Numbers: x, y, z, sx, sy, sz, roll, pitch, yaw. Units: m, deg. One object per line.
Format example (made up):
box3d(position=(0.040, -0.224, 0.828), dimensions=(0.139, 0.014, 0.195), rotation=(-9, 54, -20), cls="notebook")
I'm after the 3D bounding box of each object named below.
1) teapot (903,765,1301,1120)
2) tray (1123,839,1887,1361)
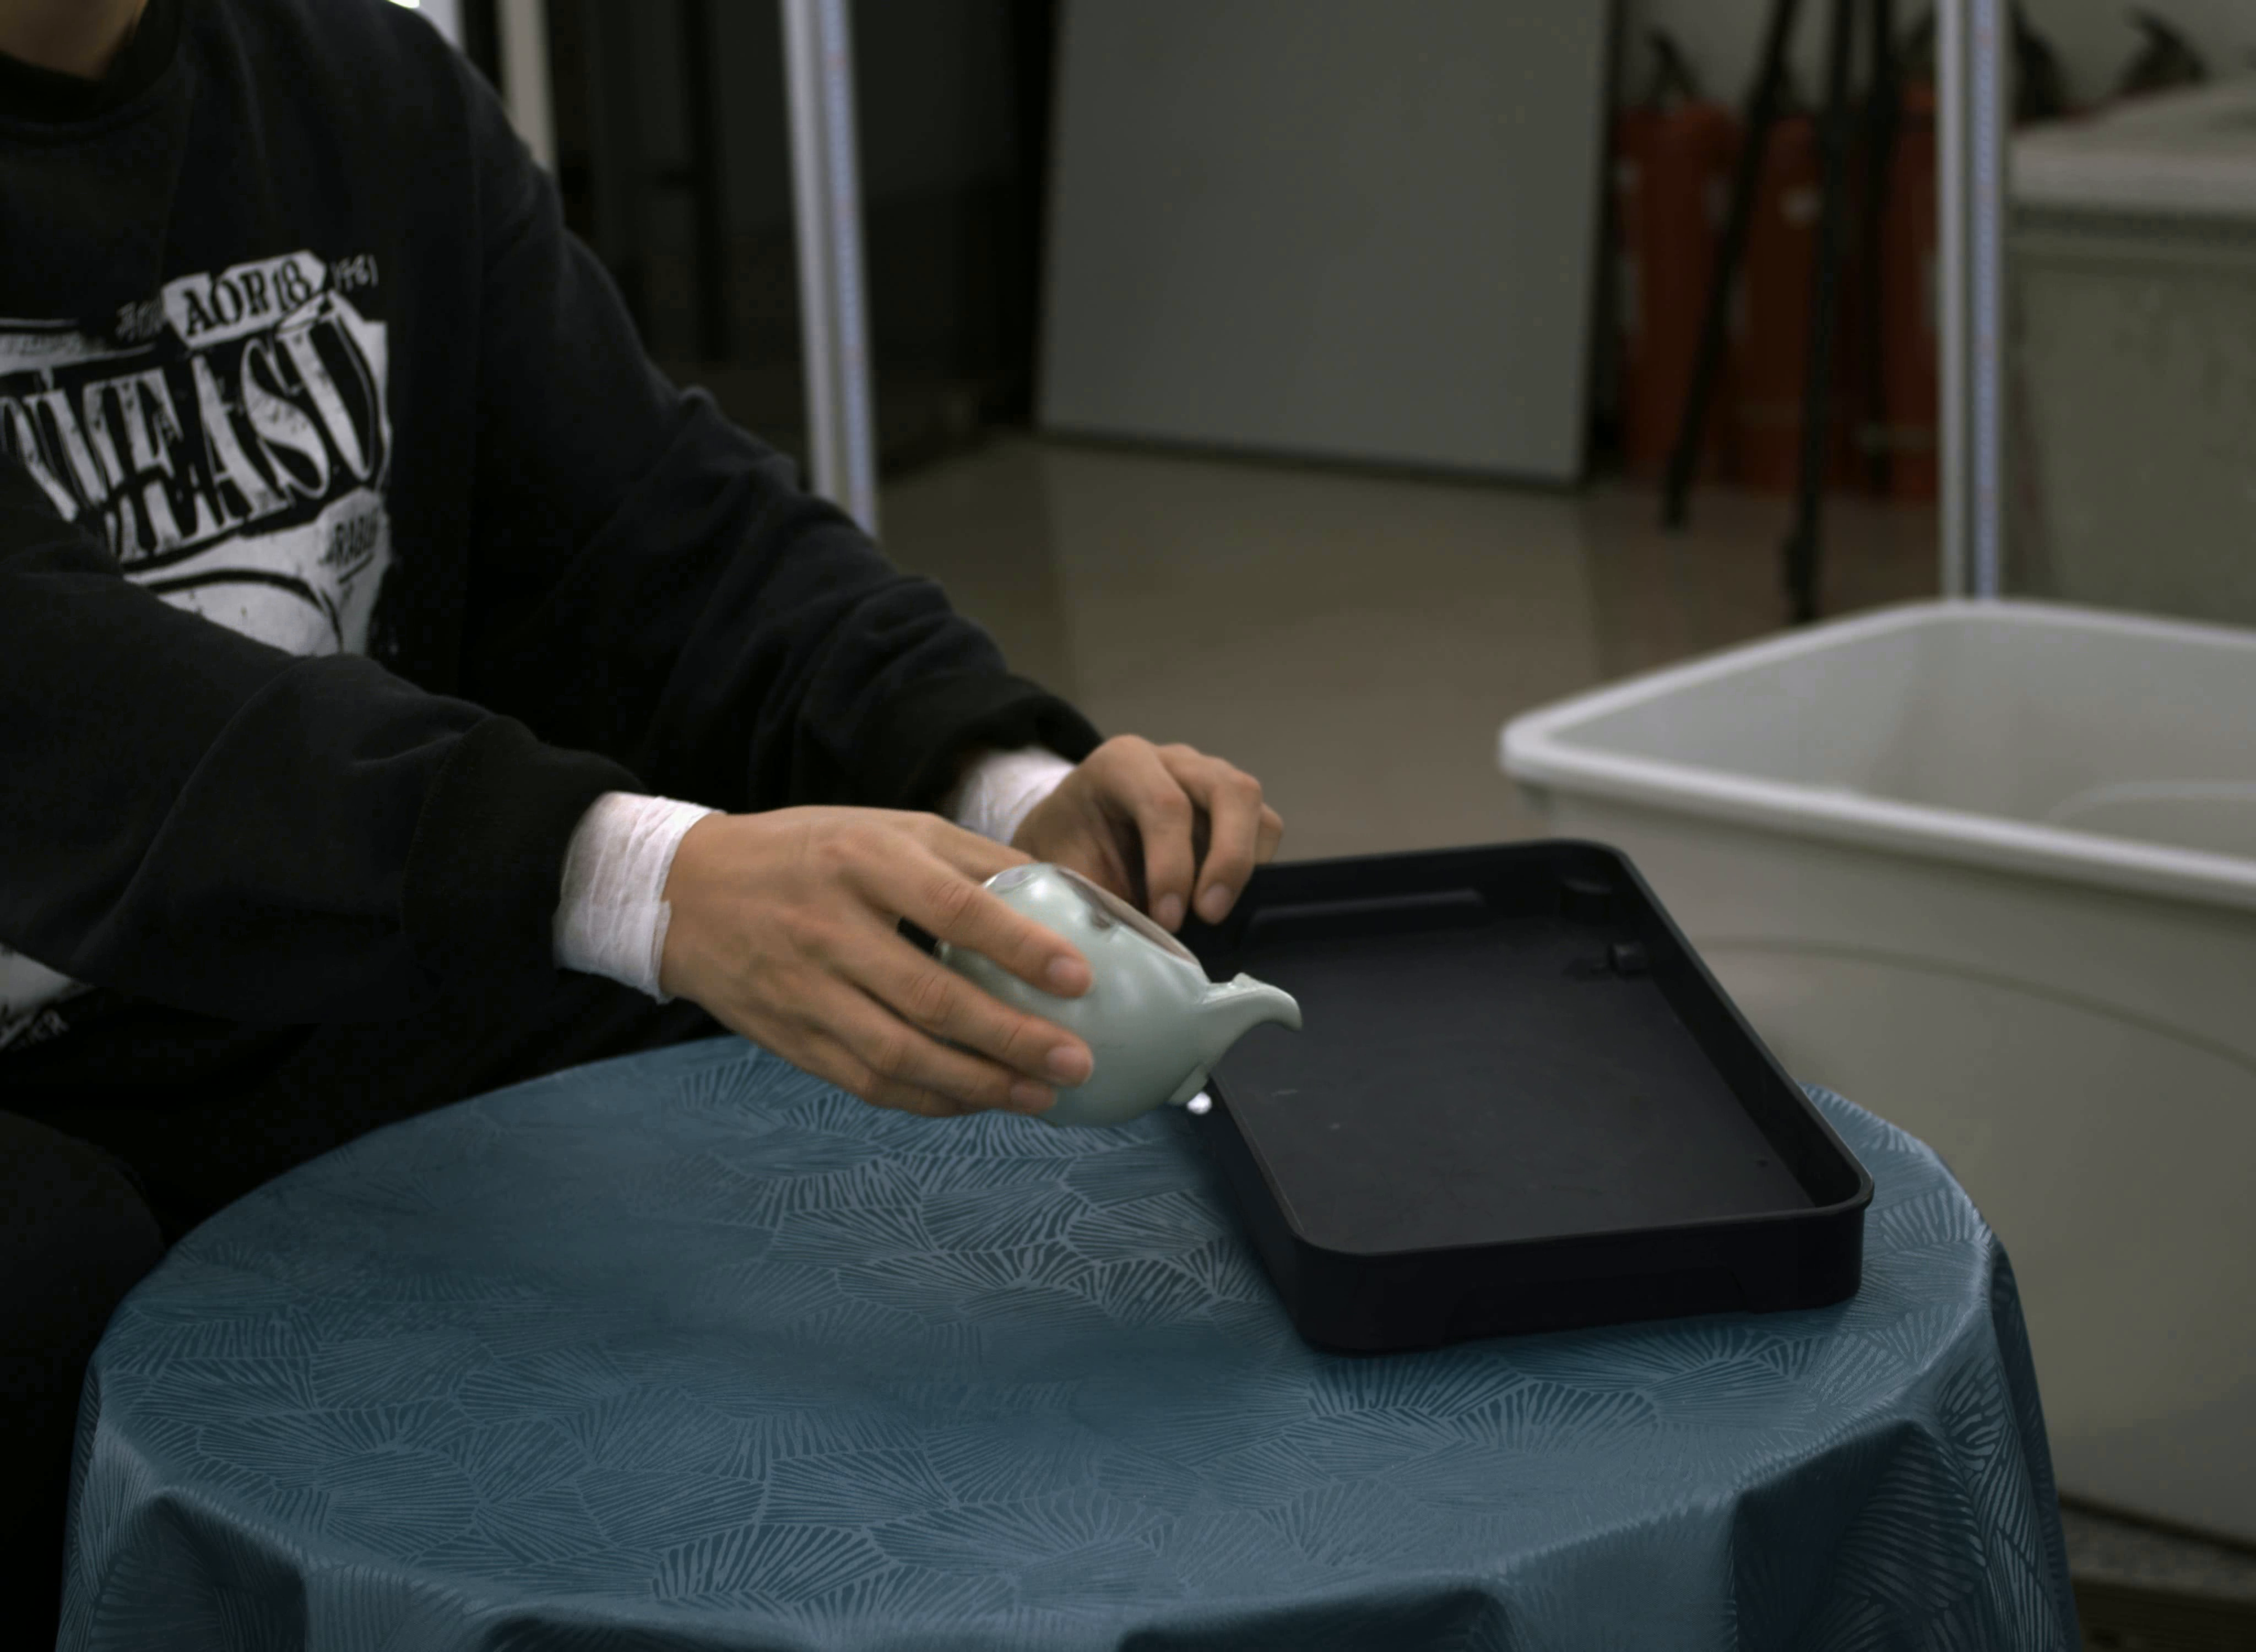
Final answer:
box3d(position=(-0.017, 0.047, 1.649), dimensions=(0.142, 0.075, 0.089), rotation=(37, 3, -22), cls="teapot")
box3d(position=(0.112, 0.082, 1.742), dimensions=(0.181, 0.037, 0.320), rotation=(-6, 21, -10), cls="tray")
